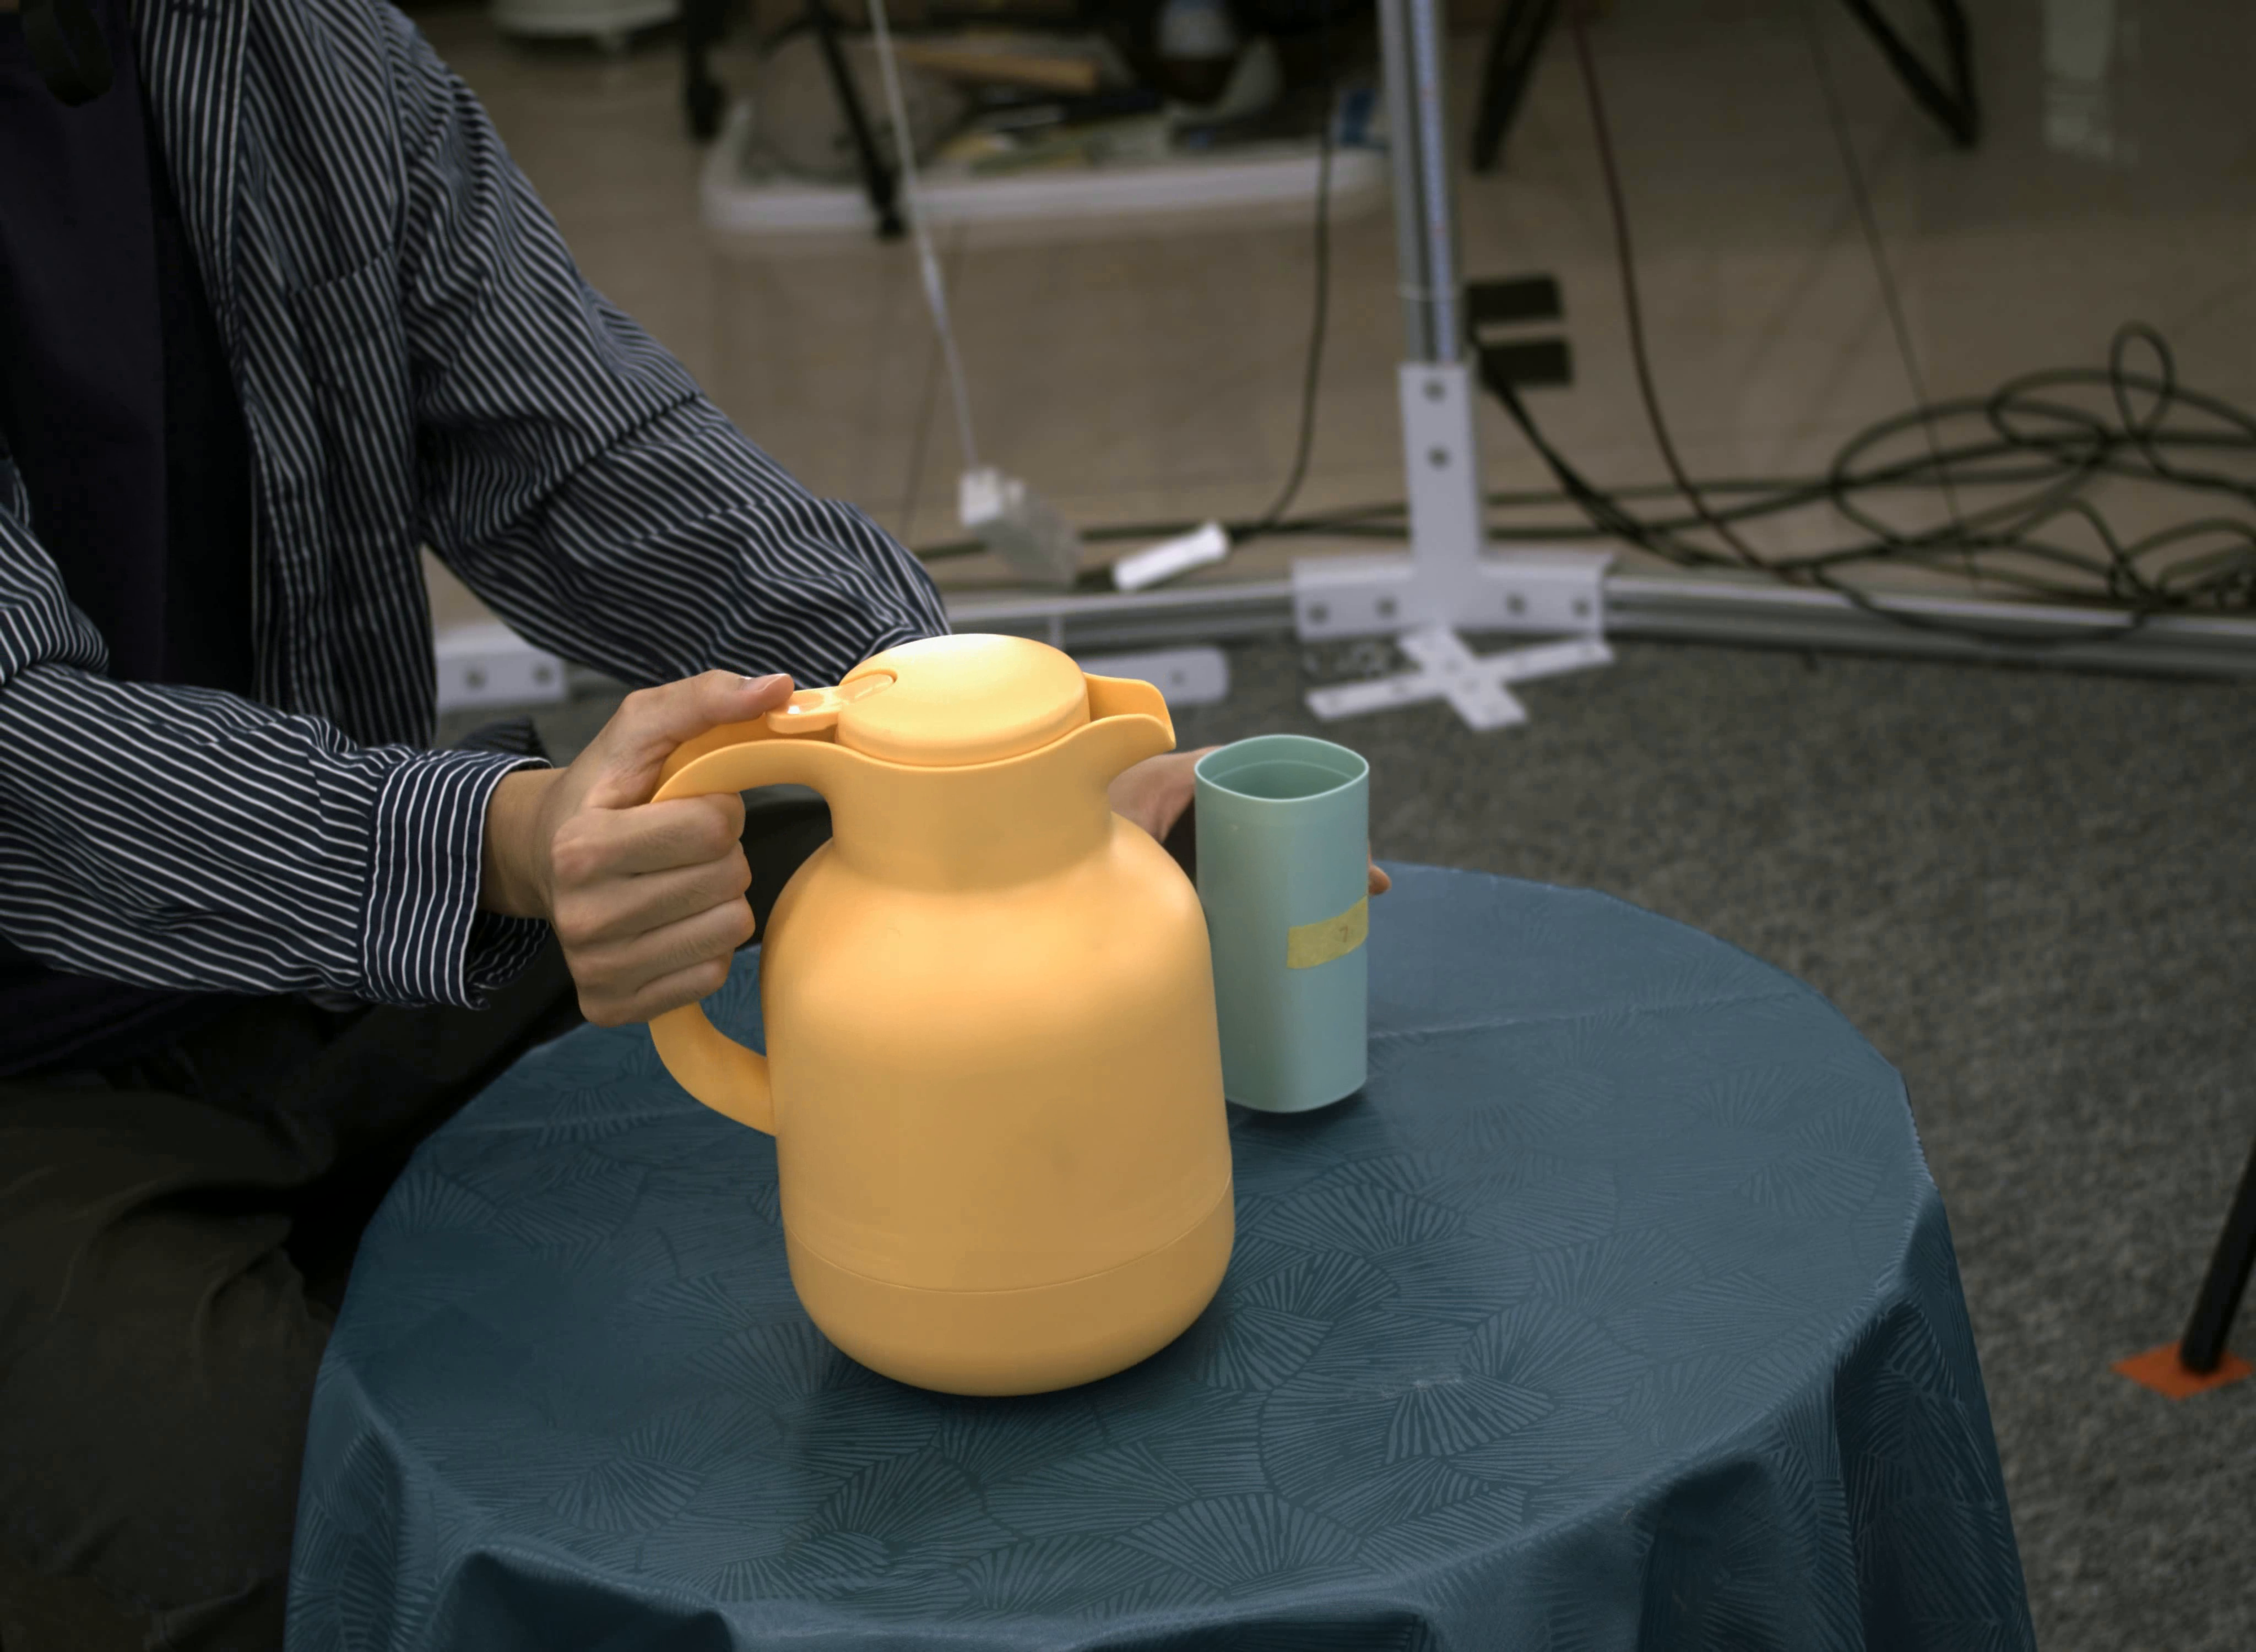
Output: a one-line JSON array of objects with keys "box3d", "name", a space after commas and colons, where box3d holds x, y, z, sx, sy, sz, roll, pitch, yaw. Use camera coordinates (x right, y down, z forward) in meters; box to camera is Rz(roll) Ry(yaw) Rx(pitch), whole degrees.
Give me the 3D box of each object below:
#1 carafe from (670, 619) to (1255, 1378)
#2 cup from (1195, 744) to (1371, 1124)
[{"box3d": [-0.059, 0.058, 2.020, 0.202, 0.265, 0.161, -4, 27, -2], "name": "carafe"}, {"box3d": [0.059, 0.041, 2.174, 0.066, 0.134, 0.066, -2, 24, 1], "name": "cup"}]
